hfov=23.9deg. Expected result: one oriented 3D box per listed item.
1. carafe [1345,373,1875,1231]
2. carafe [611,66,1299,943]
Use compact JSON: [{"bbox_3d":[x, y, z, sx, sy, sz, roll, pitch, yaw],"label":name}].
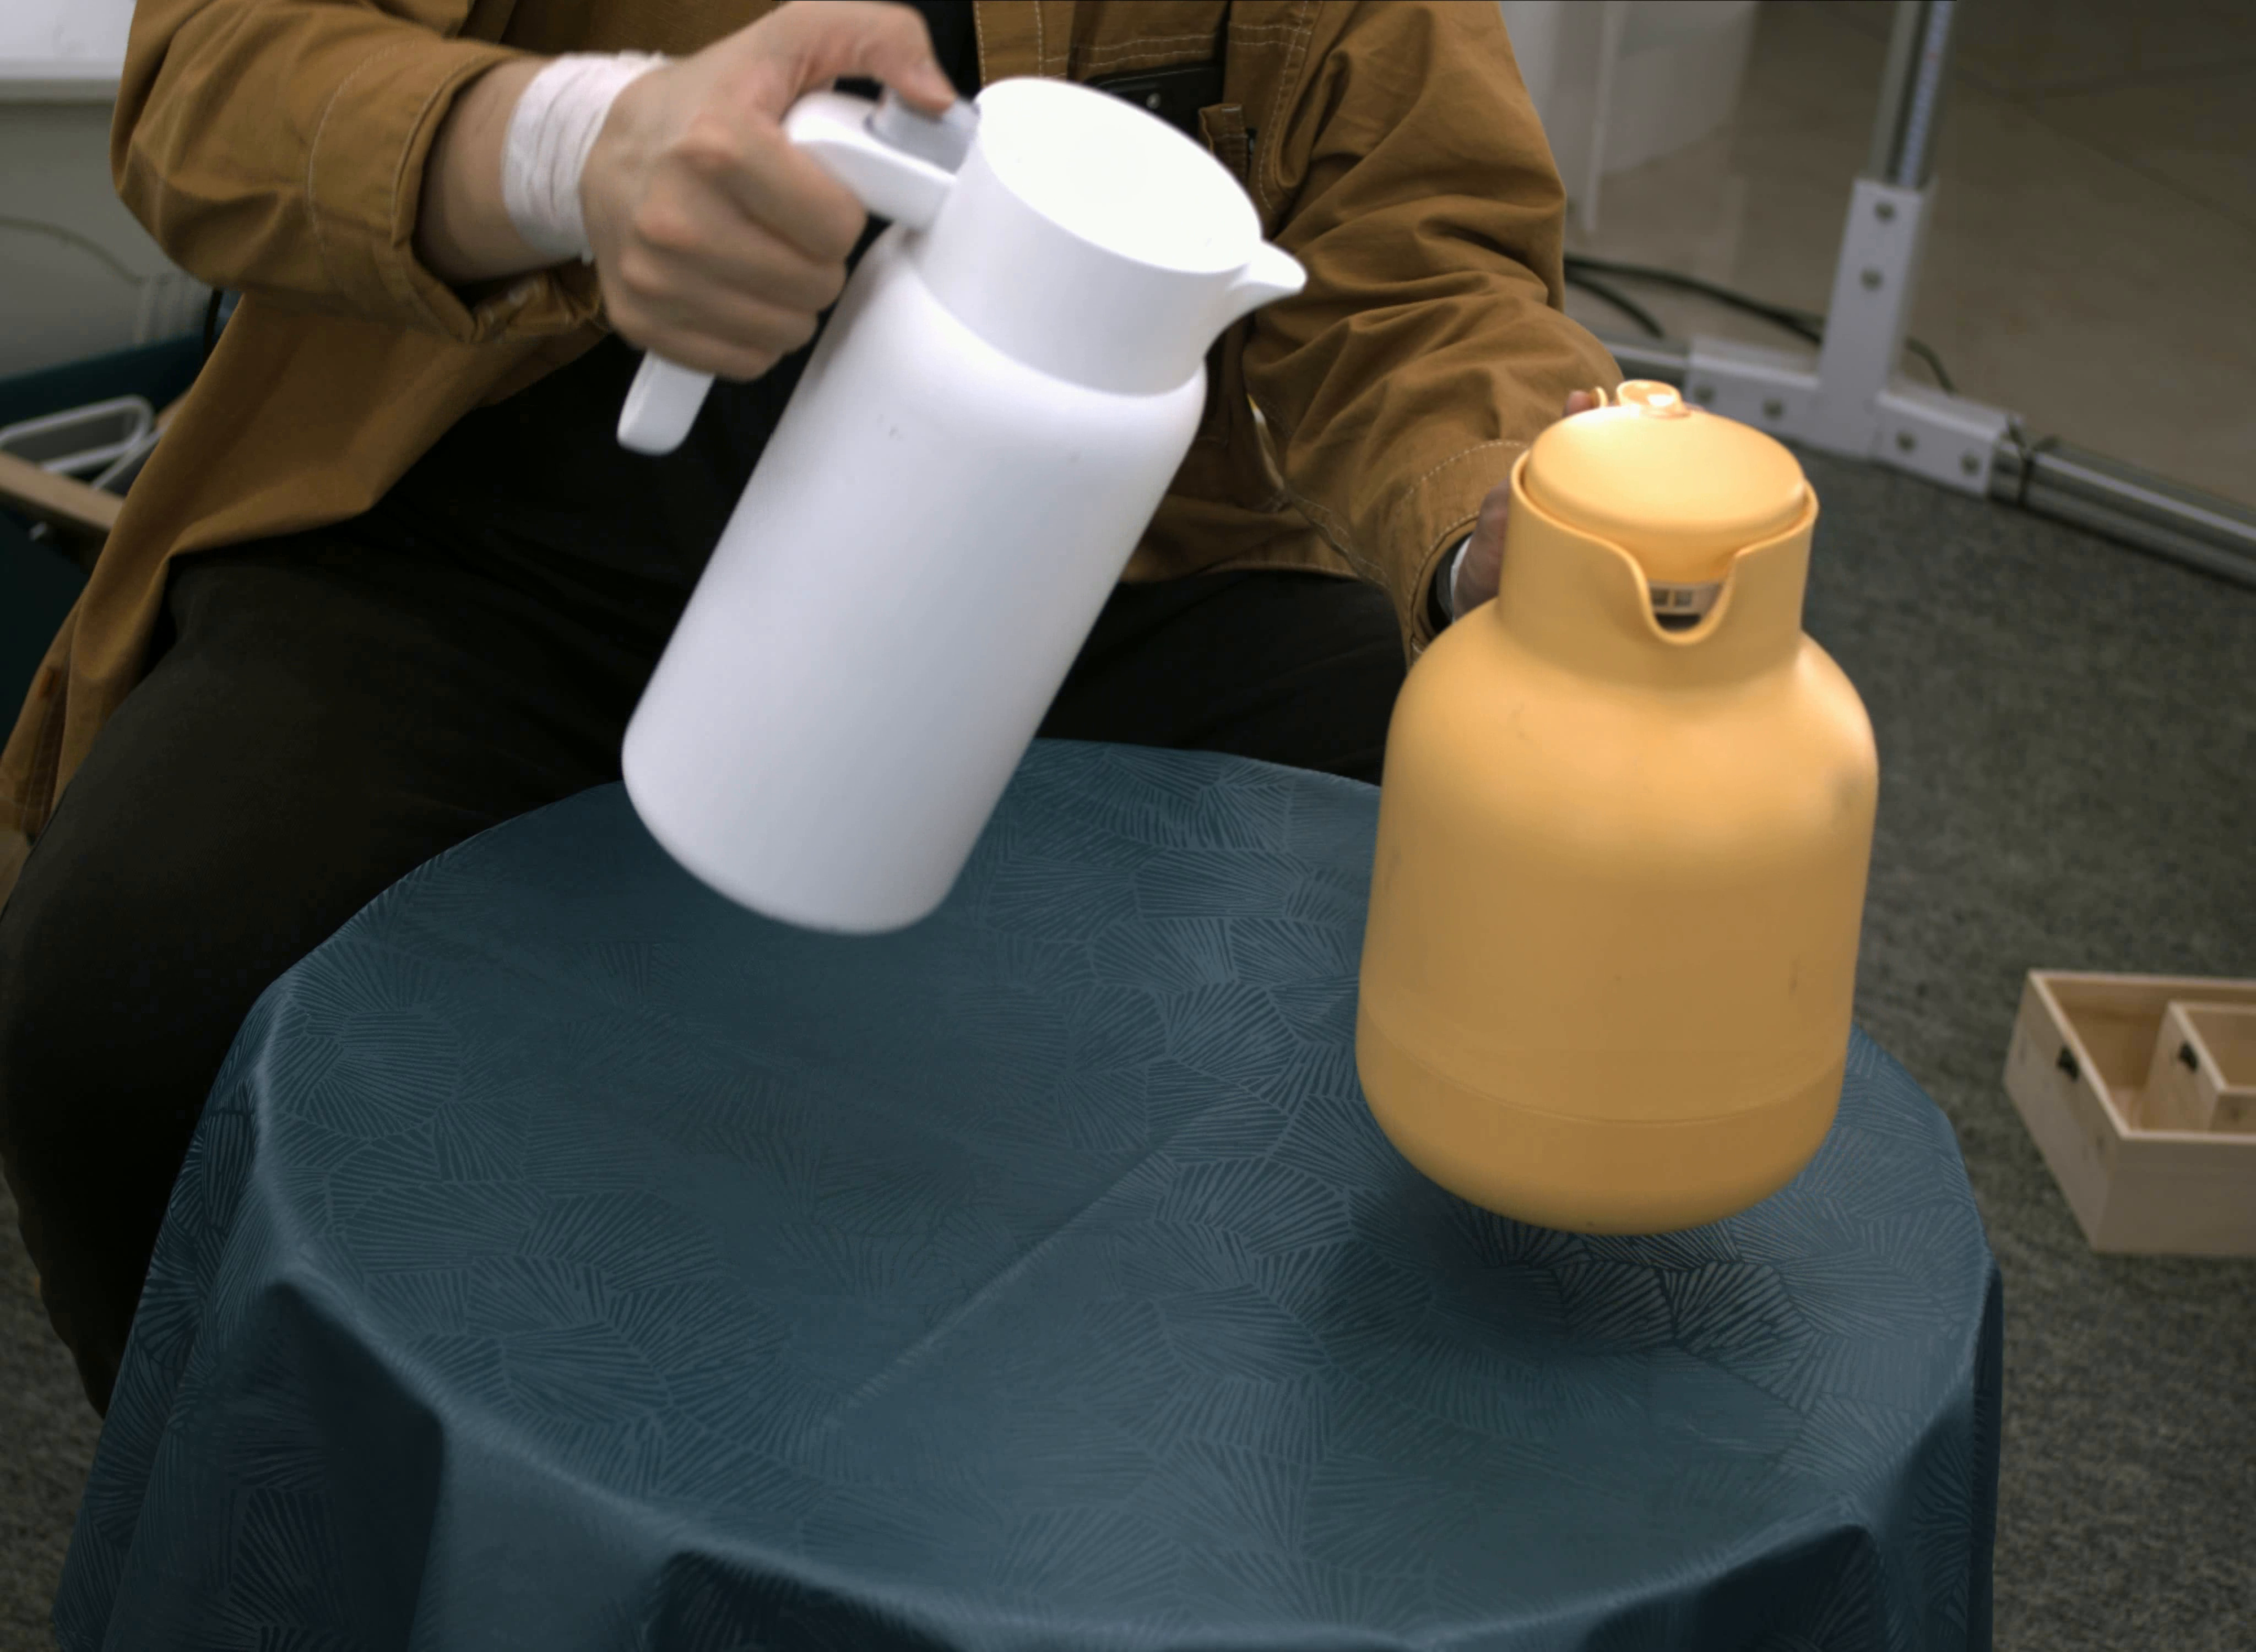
[{"bbox_3d":[0.163,-0.017,1.746,0.163,0.259,0.203,6,29,-1],"label":"carafe"},{"bbox_3d":[-0.076,-0.102,1.664,0.172,0.268,0.125,20,34,-13],"label":"carafe"}]
